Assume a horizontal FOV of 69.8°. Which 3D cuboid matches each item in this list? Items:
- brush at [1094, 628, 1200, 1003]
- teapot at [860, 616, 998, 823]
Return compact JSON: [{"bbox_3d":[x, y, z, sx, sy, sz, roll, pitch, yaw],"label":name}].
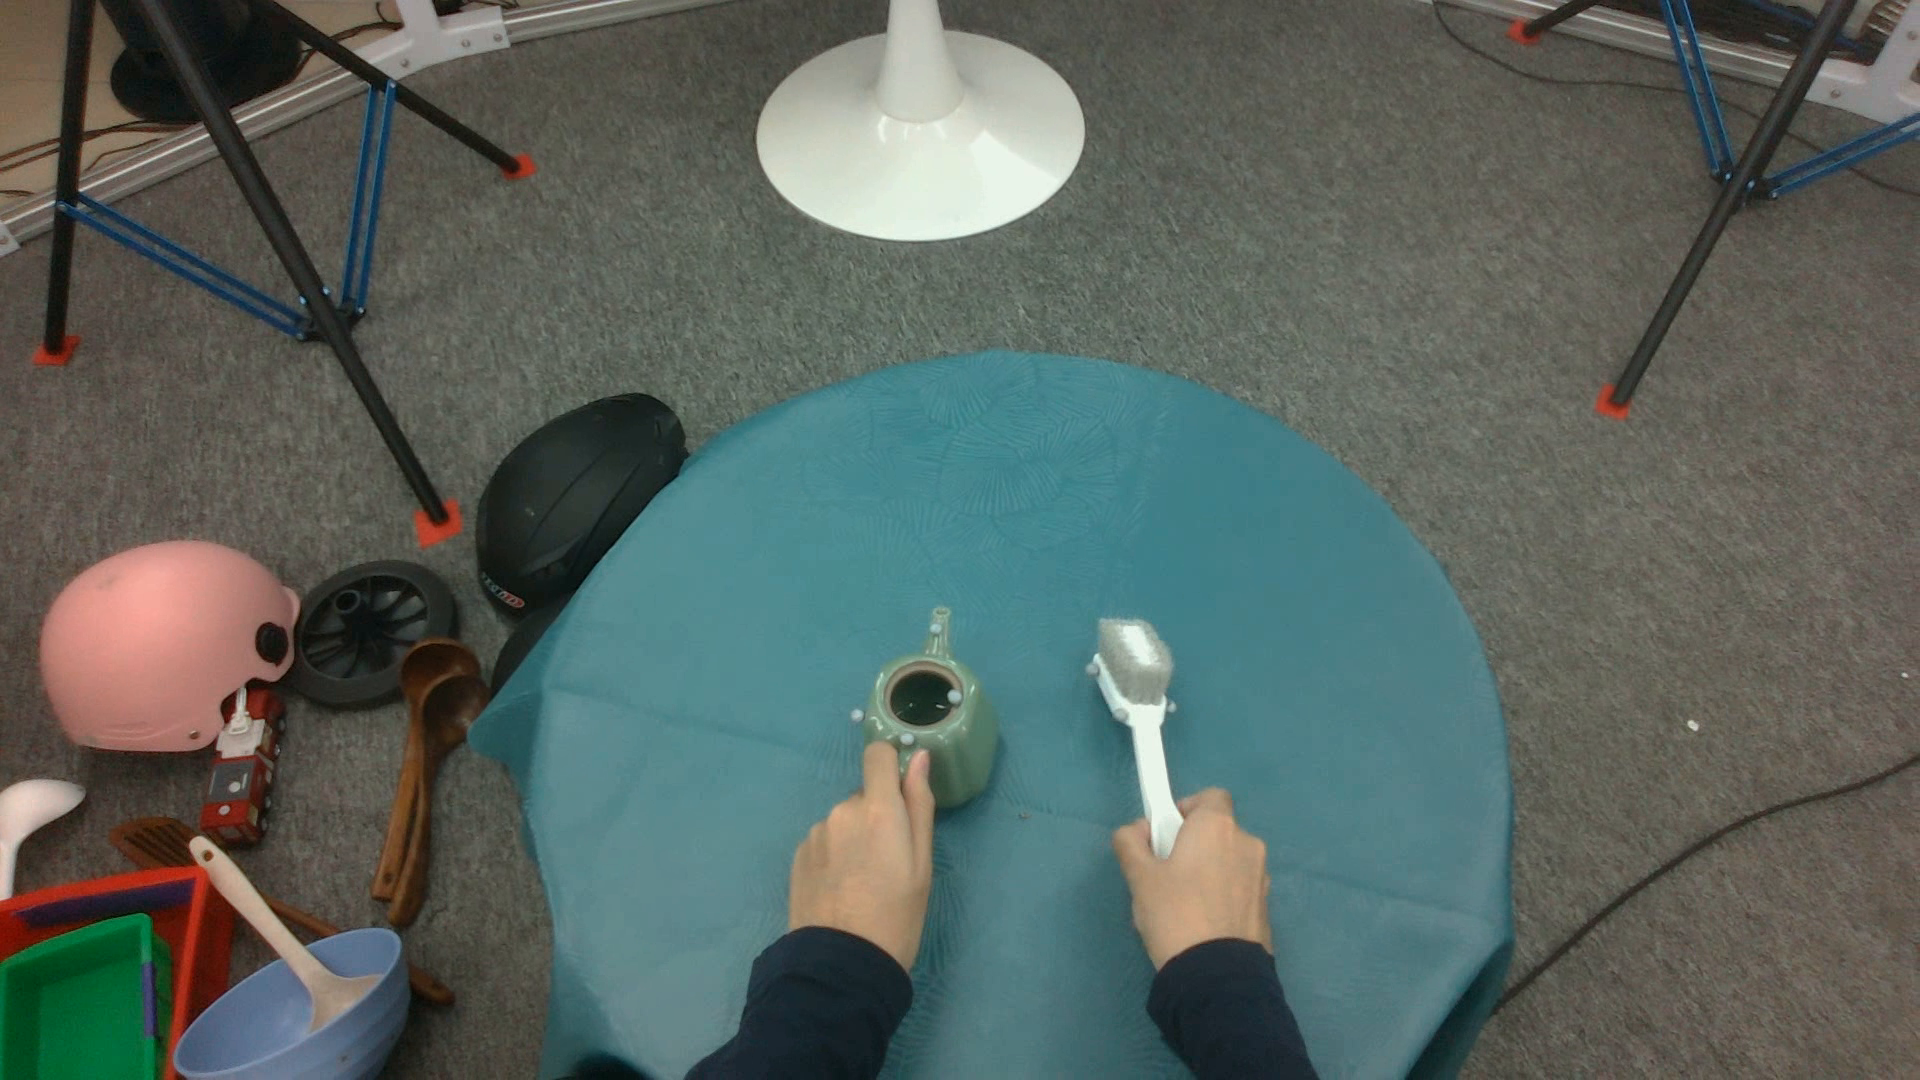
[{"bbox_3d":[0.113,0.143,0.785,0.034,0.050,0.245,13,39,-15],"label":"brush"},{"bbox_3d":[-0.020,0.116,0.818,0.079,0.075,0.133,4,51,10],"label":"teapot"}]
